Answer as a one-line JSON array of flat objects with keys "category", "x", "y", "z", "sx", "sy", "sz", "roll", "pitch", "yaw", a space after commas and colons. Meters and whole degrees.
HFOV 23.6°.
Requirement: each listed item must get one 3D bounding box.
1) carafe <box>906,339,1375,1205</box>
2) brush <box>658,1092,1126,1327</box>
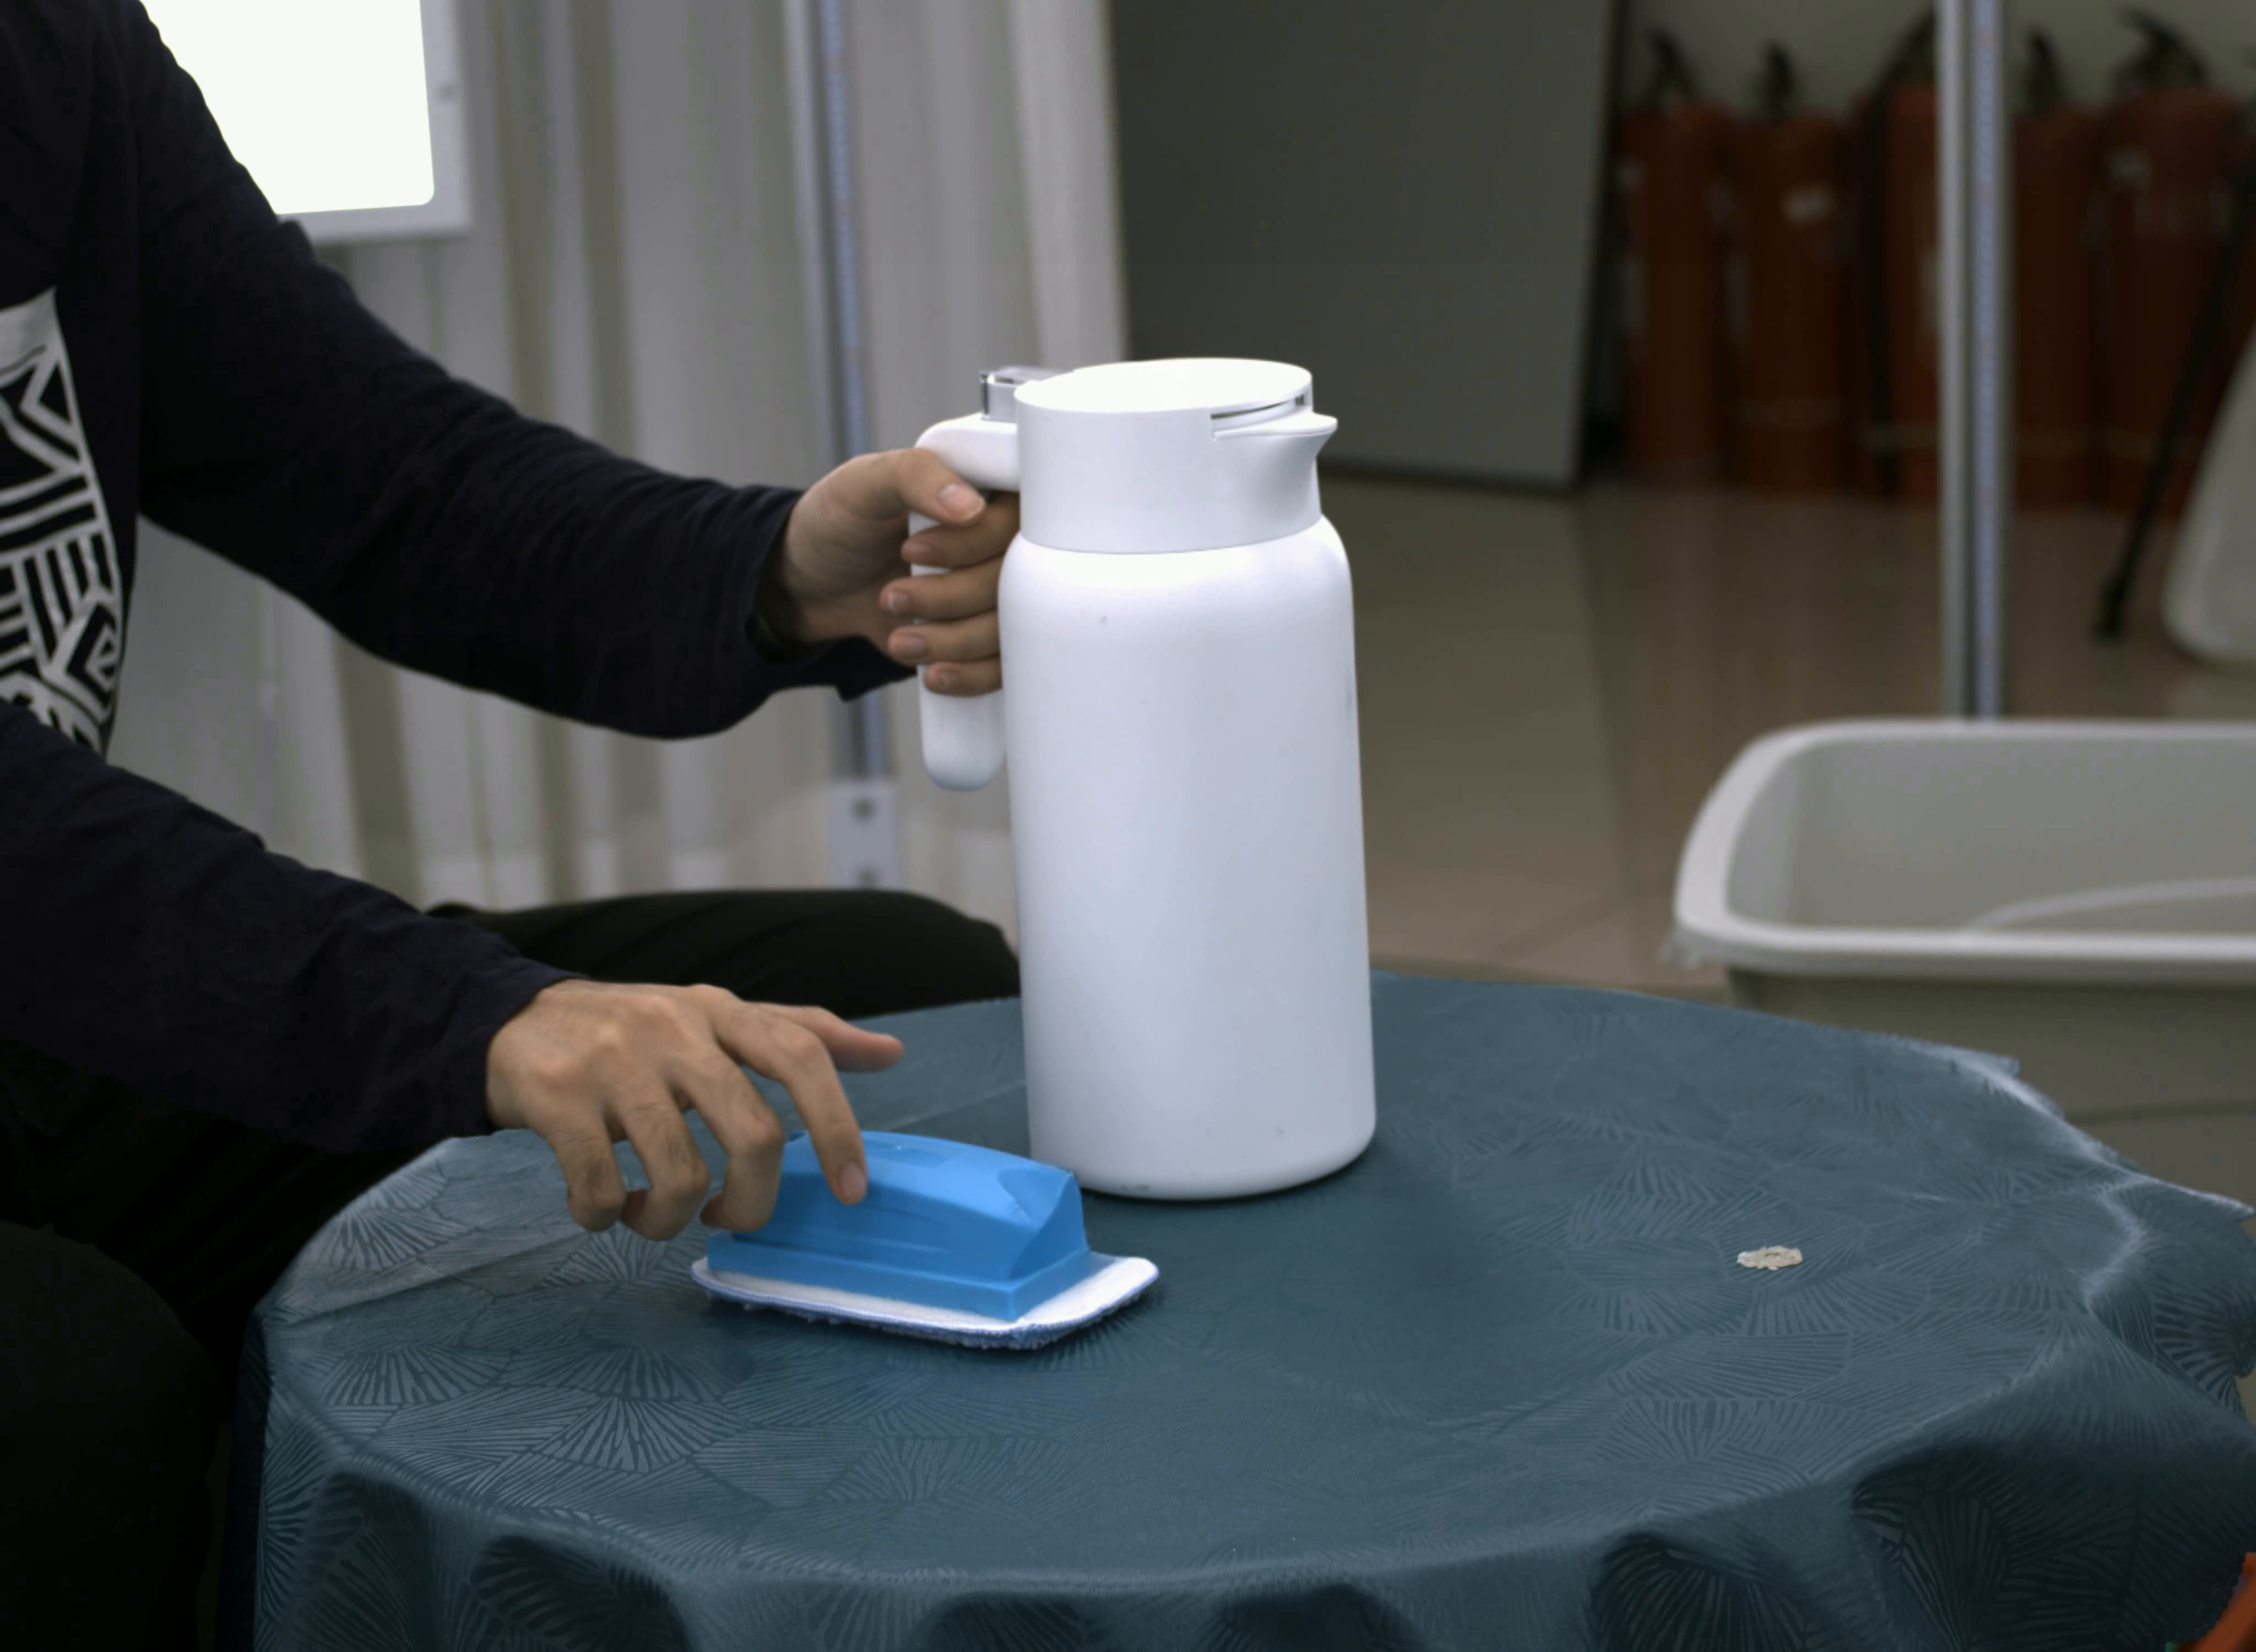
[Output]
[{"category": "carafe", "x": 0.004, "y": -0.019, "z": 1.785, "sx": 0.174, "sy": 0.272, "sz": 0.121, "roll": 6, "pitch": 18, "yaw": 39}, {"category": "brush", "x": -0.073, "y": 0.117, "z": 1.677, "sx": 0.145, "sy": 0.056, "sz": 0.082, "roll": 12, "pitch": 17, "yaw": 35}]
